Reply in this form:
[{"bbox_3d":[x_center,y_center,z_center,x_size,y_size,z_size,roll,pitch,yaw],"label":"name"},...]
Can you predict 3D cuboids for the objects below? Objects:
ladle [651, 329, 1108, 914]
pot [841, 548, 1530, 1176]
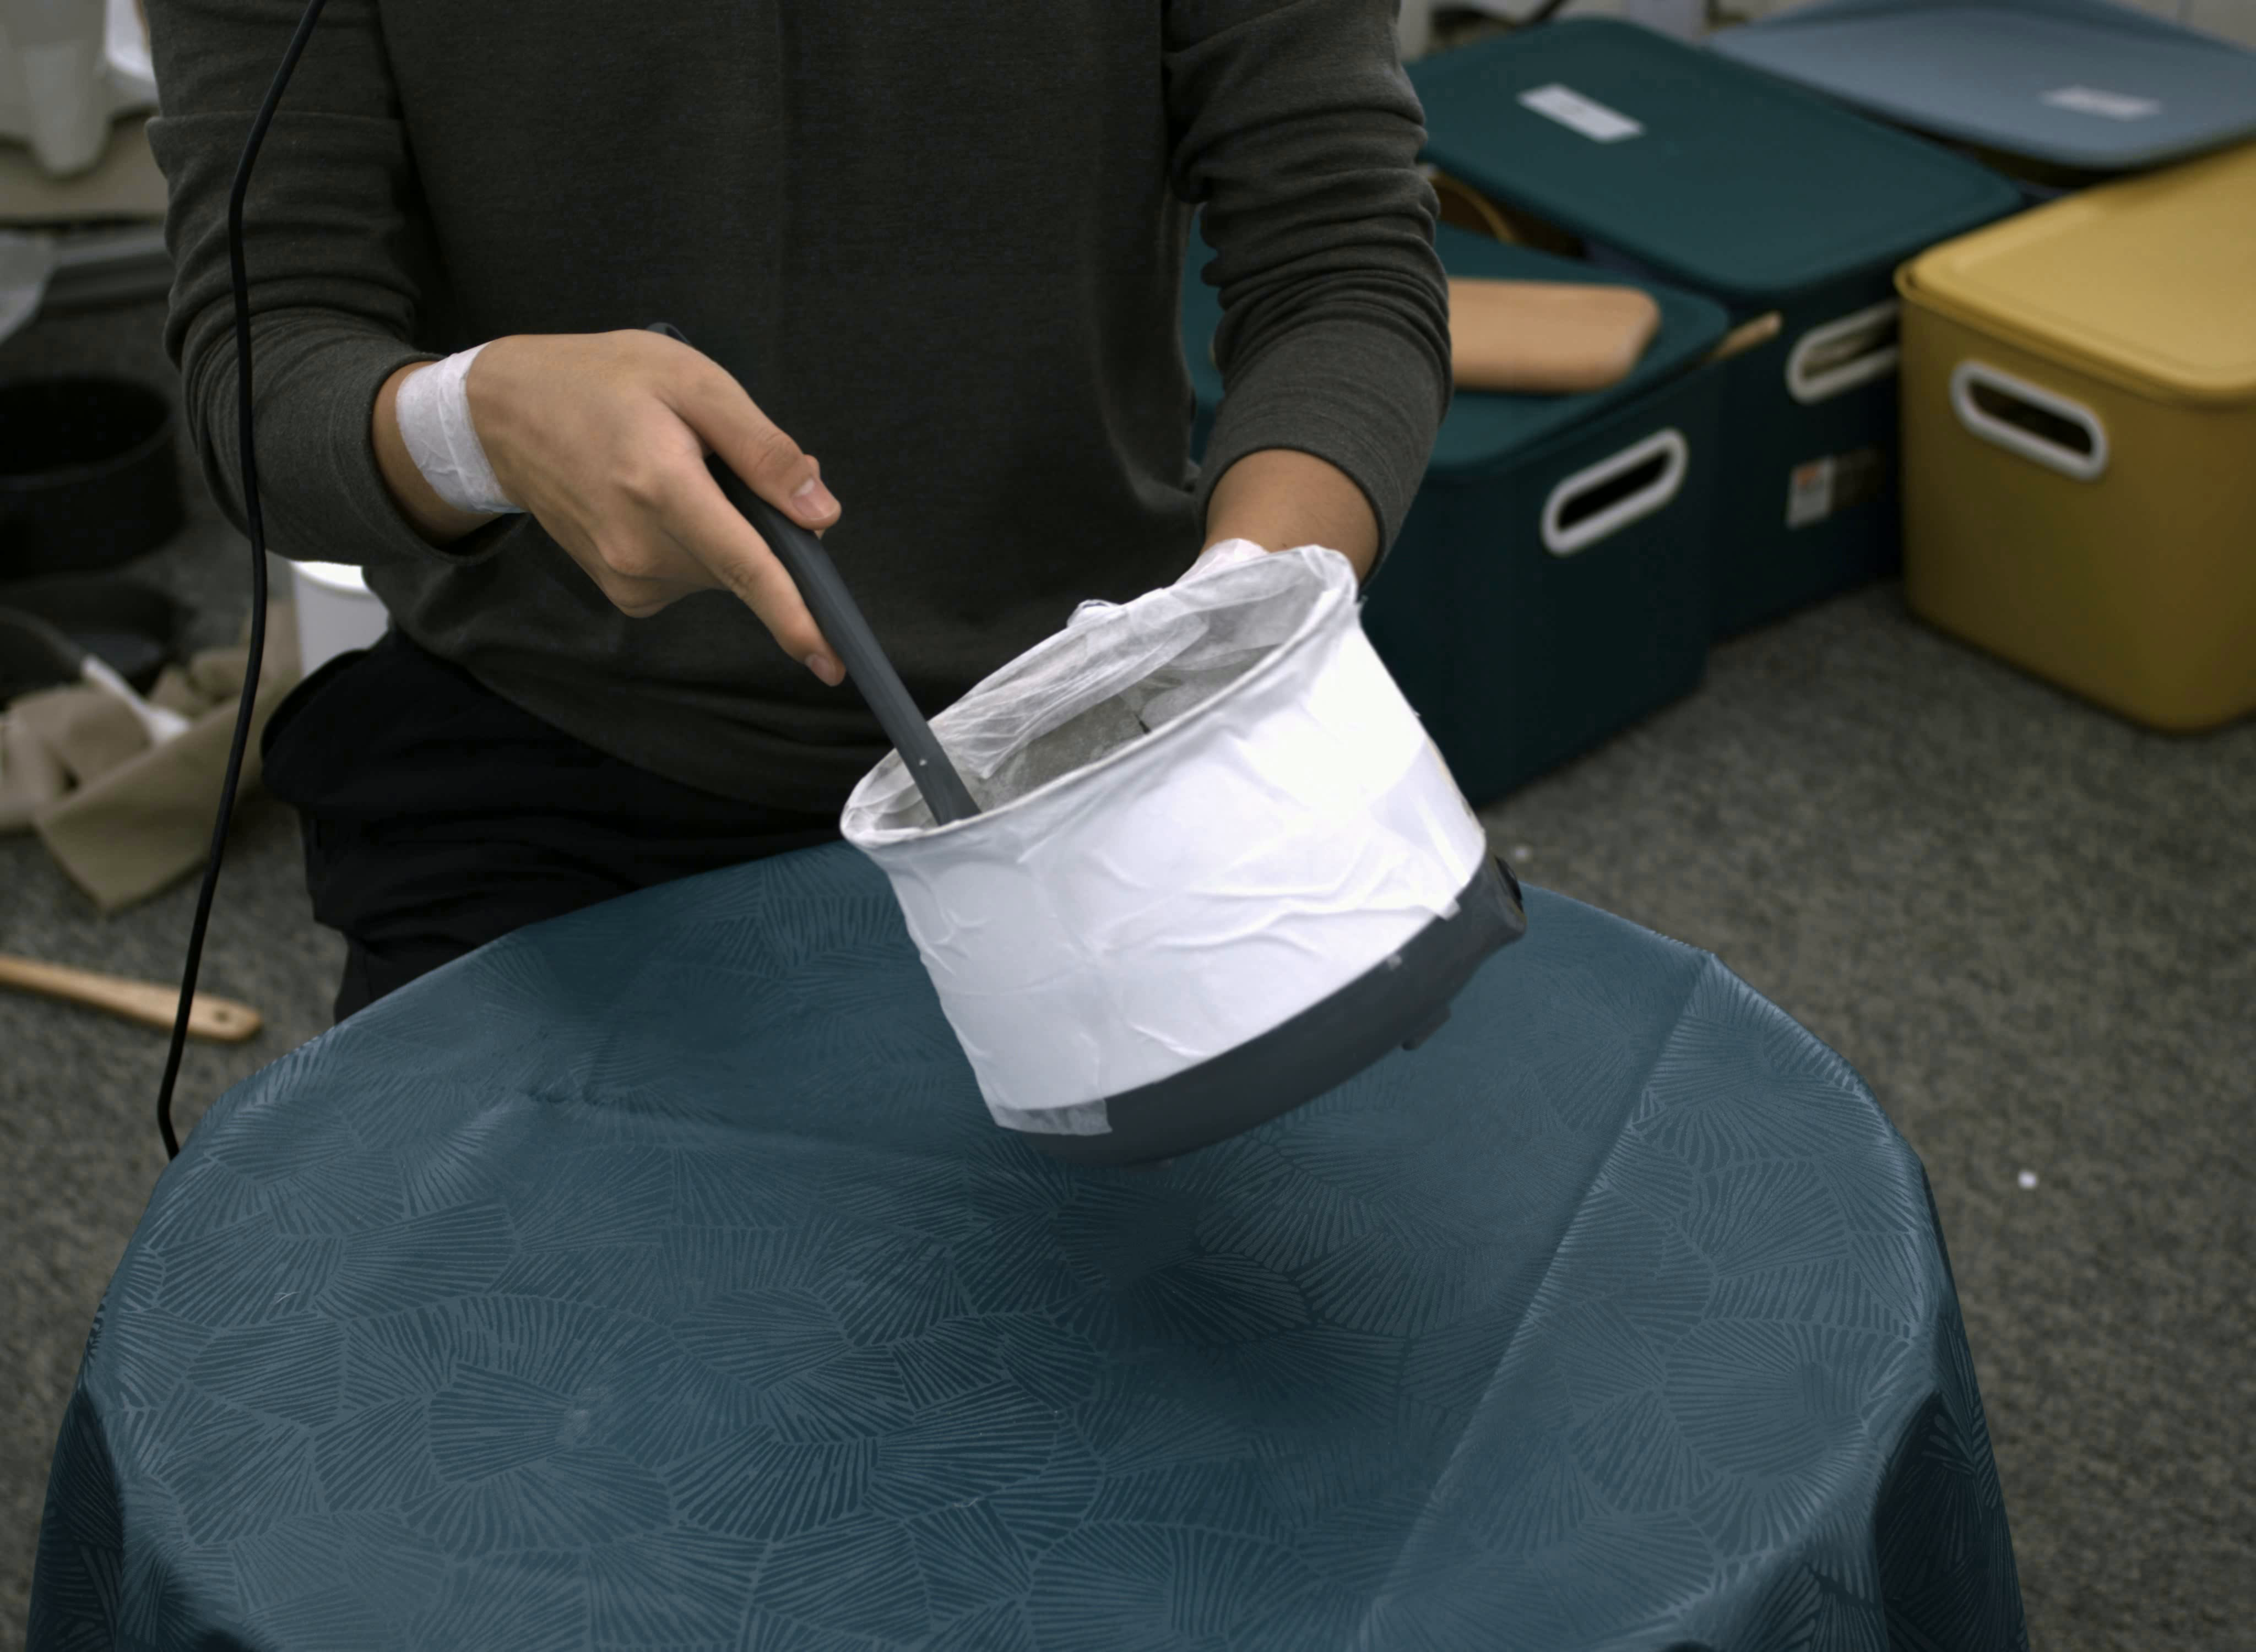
[{"bbox_3d":[-0.071,-0.074,1.781,0.086,0.063,0.317,25,25,-48],"label":"ladle"},{"bbox_3d":[0.018,0.006,1.765,0.178,0.136,0.235,-25,14,4],"label":"pot"}]
